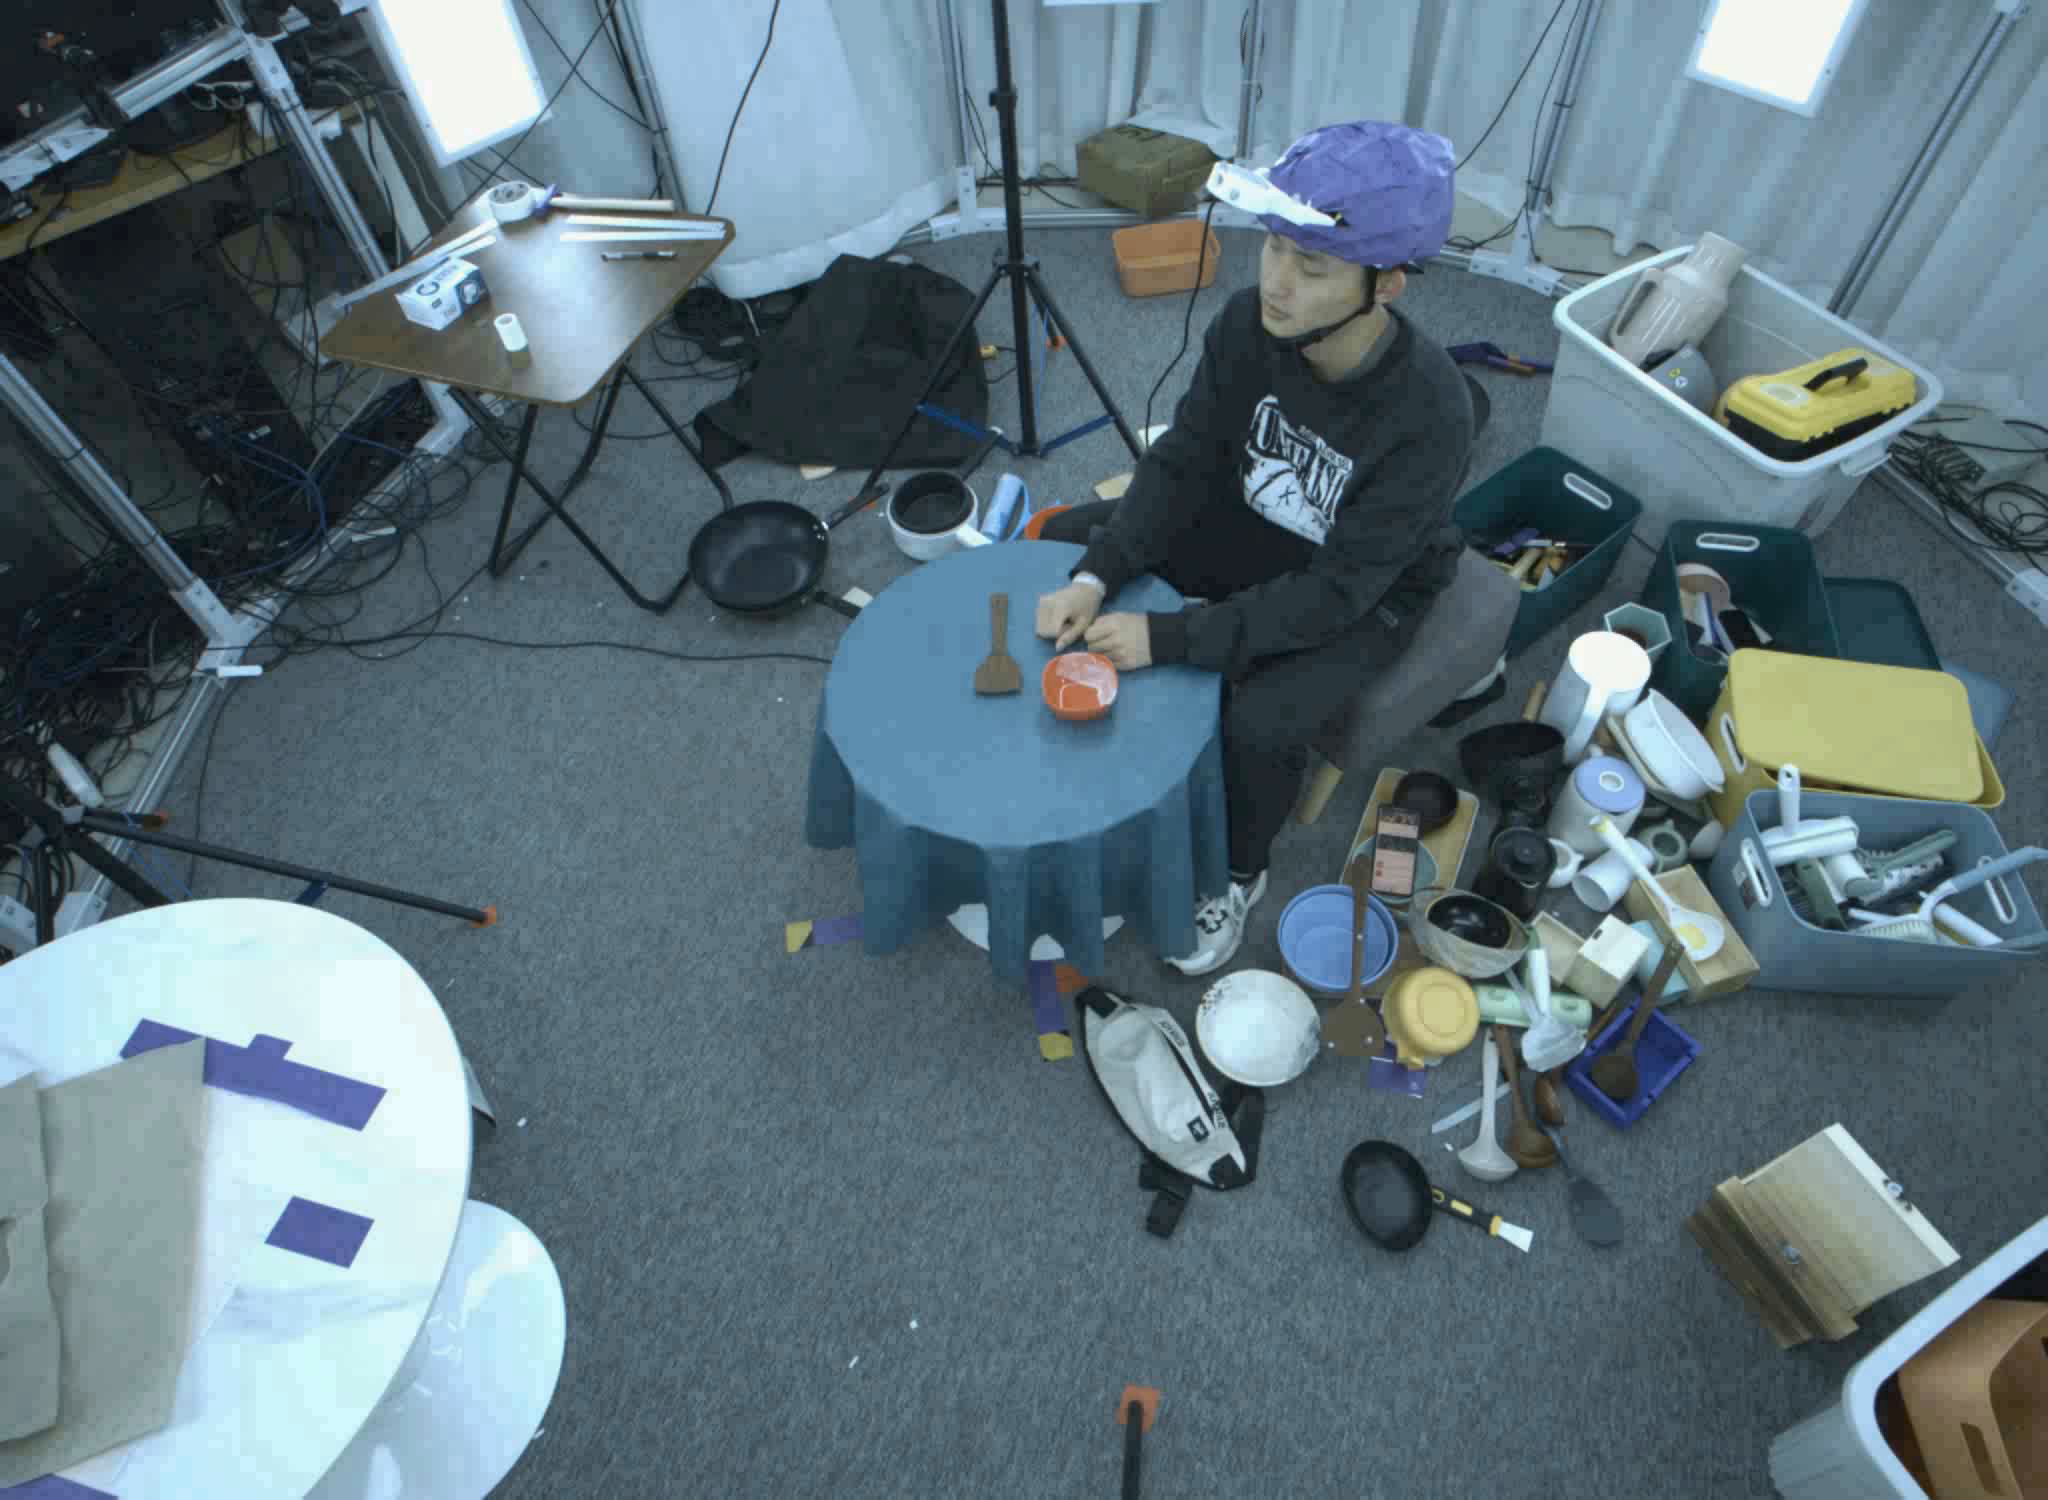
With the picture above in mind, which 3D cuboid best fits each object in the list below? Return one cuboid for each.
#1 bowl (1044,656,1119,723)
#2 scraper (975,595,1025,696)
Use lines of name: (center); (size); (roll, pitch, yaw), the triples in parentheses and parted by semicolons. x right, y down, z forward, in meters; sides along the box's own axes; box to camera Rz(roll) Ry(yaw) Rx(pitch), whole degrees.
bowl: (0.086, -0.082, 1.822); (0.119, 0.052, 0.118); (-1, 56, 3)
scraper: (-0.038, -0.164, 1.910); (0.076, 0.011, 0.209); (-1, 54, 0)
